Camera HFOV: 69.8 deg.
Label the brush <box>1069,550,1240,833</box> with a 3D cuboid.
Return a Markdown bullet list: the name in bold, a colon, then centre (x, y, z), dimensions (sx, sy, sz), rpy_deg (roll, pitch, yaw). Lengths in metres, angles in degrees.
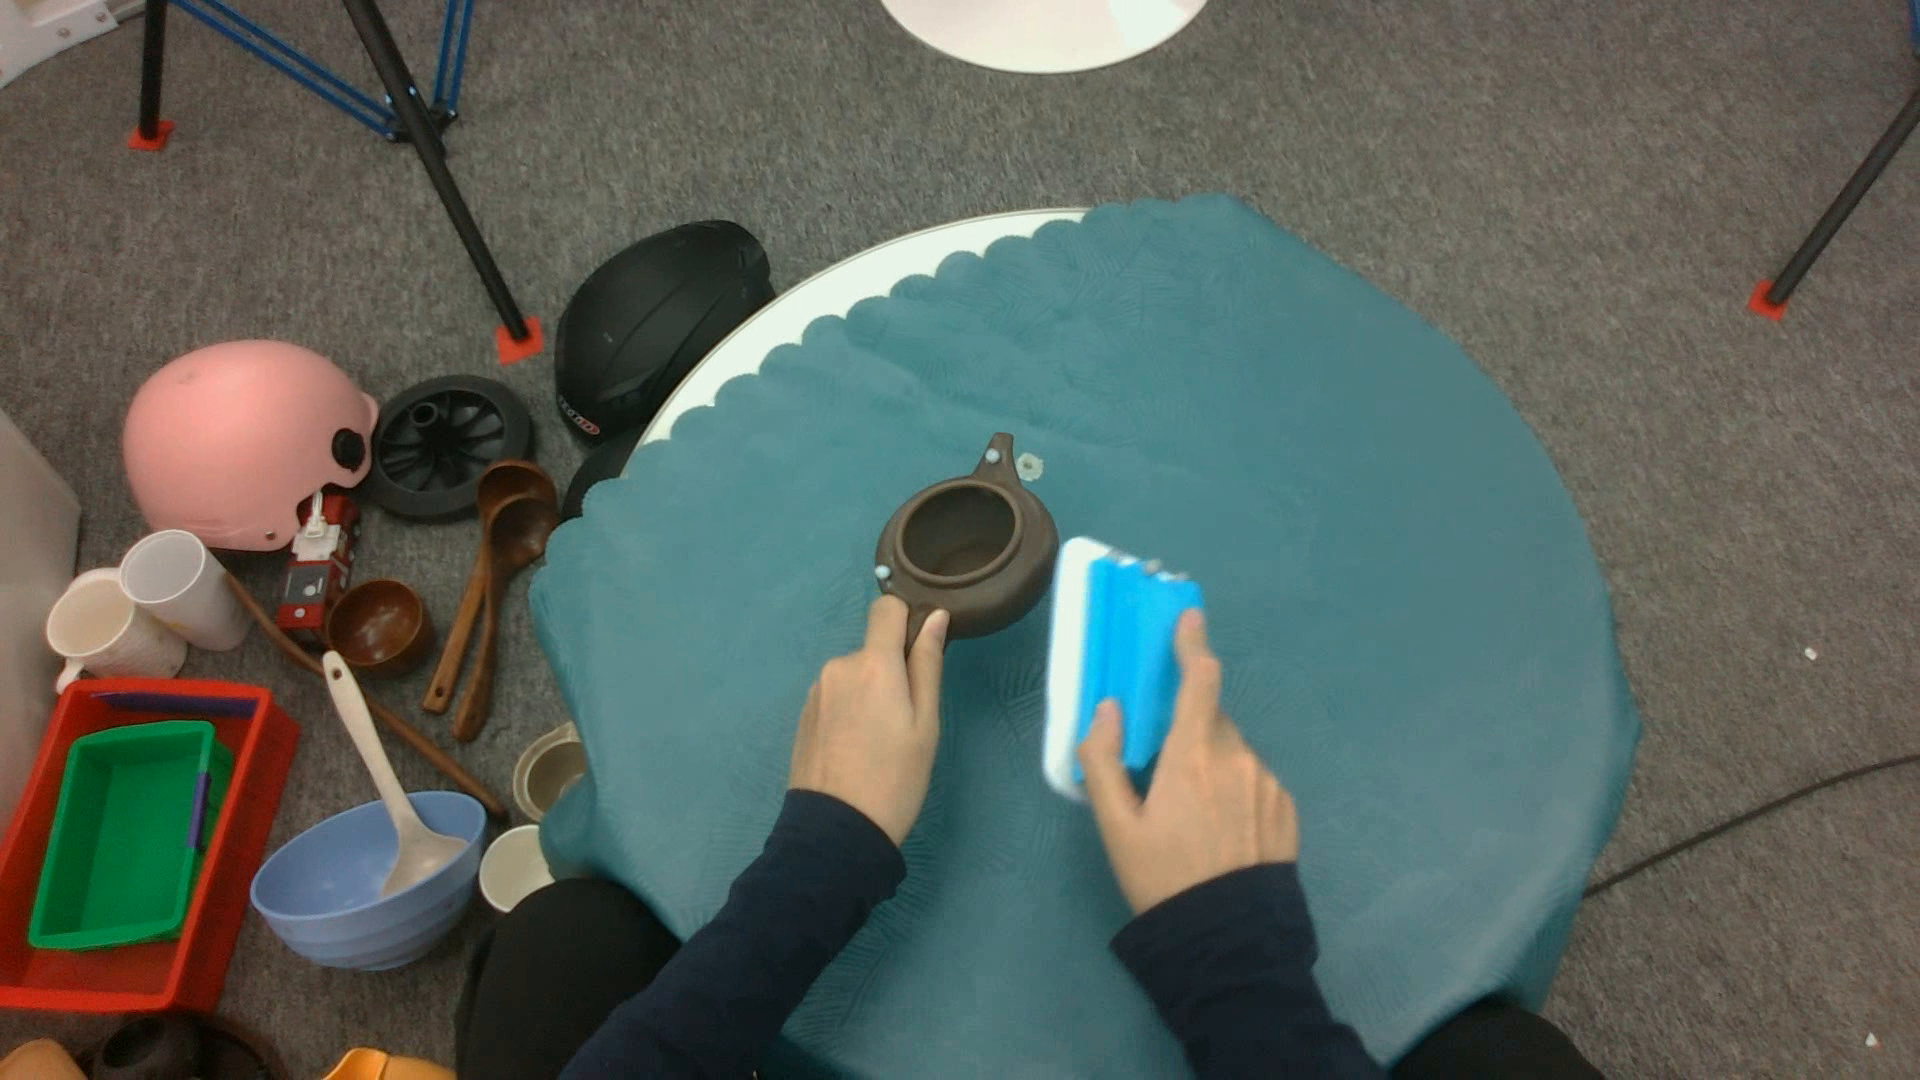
- **brush**: centre (0.109, 0.072, 0.705), dimensions (0.084, 0.055, 0.144), rpy_deg (23, 61, -17)

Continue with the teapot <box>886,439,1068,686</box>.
- **teapot**: centre (0.008, 0.014, 0.765), dimensions (0.102, 0.053, 0.154), rpy_deg (7, 53, 18)
